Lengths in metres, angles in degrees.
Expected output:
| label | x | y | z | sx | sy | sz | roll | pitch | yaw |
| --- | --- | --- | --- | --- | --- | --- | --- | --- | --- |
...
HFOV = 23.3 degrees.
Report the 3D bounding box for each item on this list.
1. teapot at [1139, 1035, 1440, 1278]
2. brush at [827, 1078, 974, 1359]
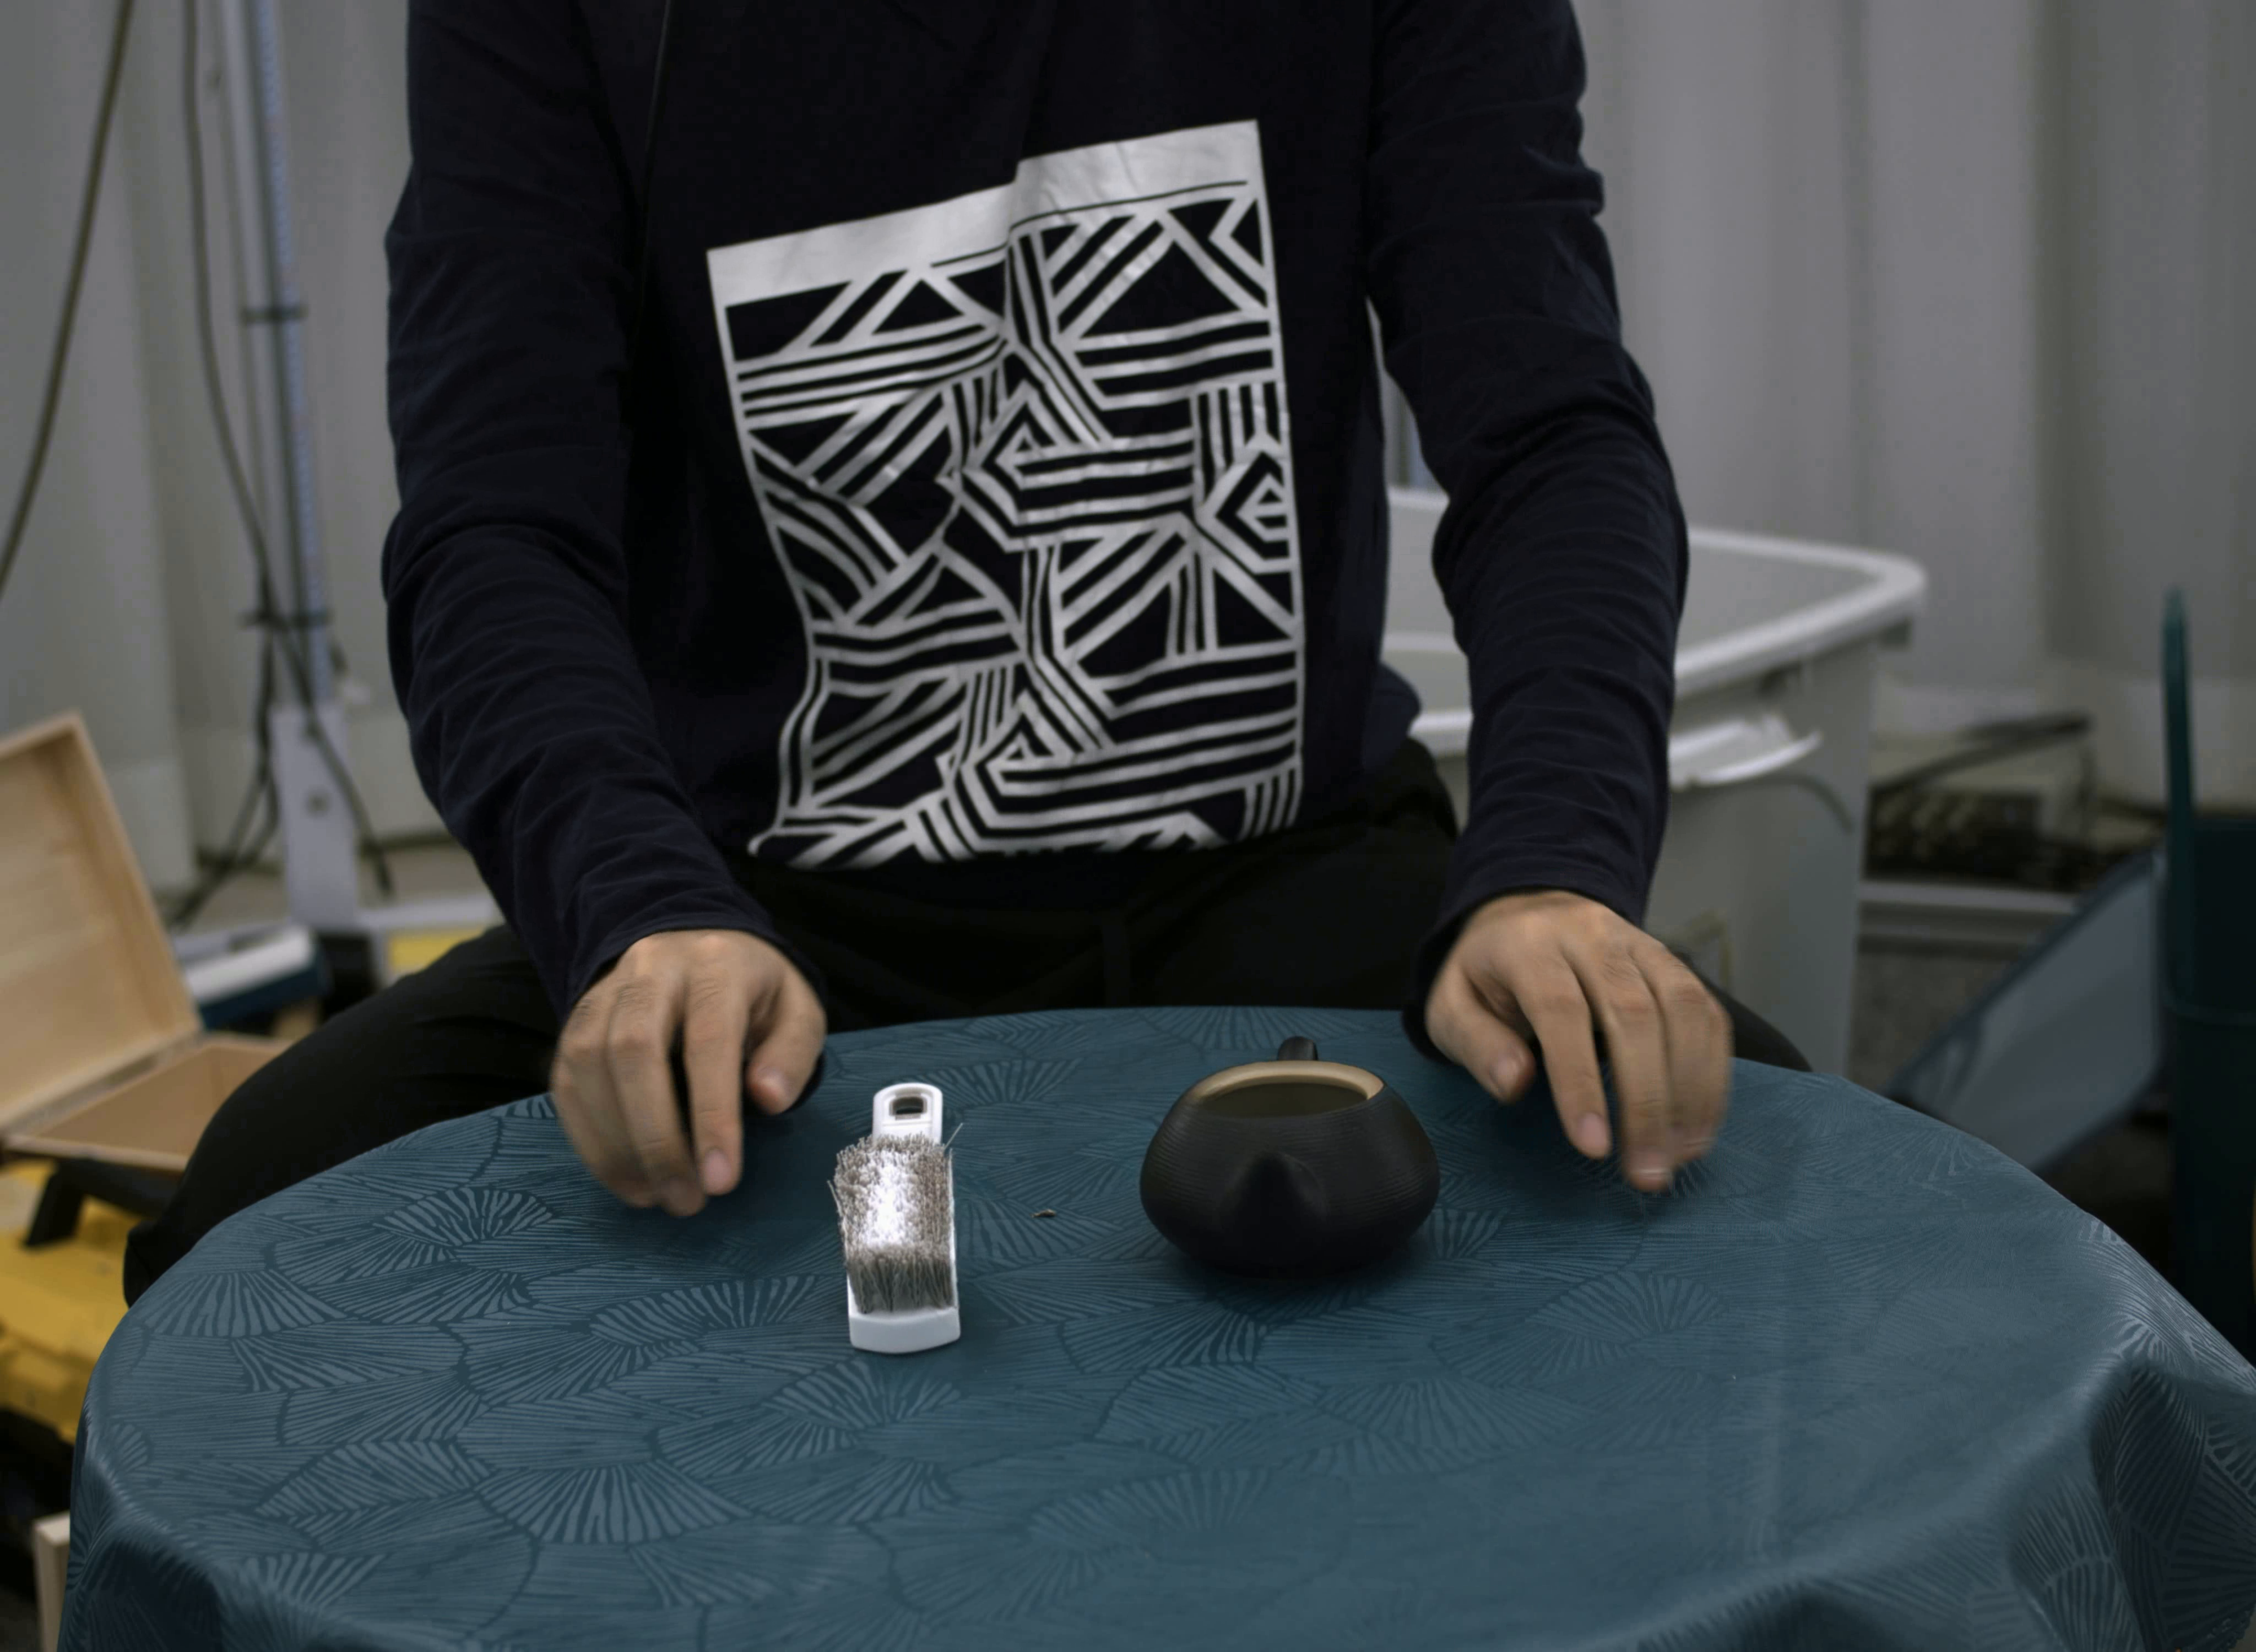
| label | x | y | z | sx | sy | sz | roll | pitch | yaw |
| --- | --- | --- | --- | --- | --- | --- | --- | --- | --- |
| teapot | 0.049 | 0.103 | 1.647 | 0.091 | 0.053 | 0.134 | 2 | 15 | 6 |
| brush | -0.067 | 0.101 | 1.685 | 0.034 | 0.050 | 0.245 | -8 | 15 | 3 |
